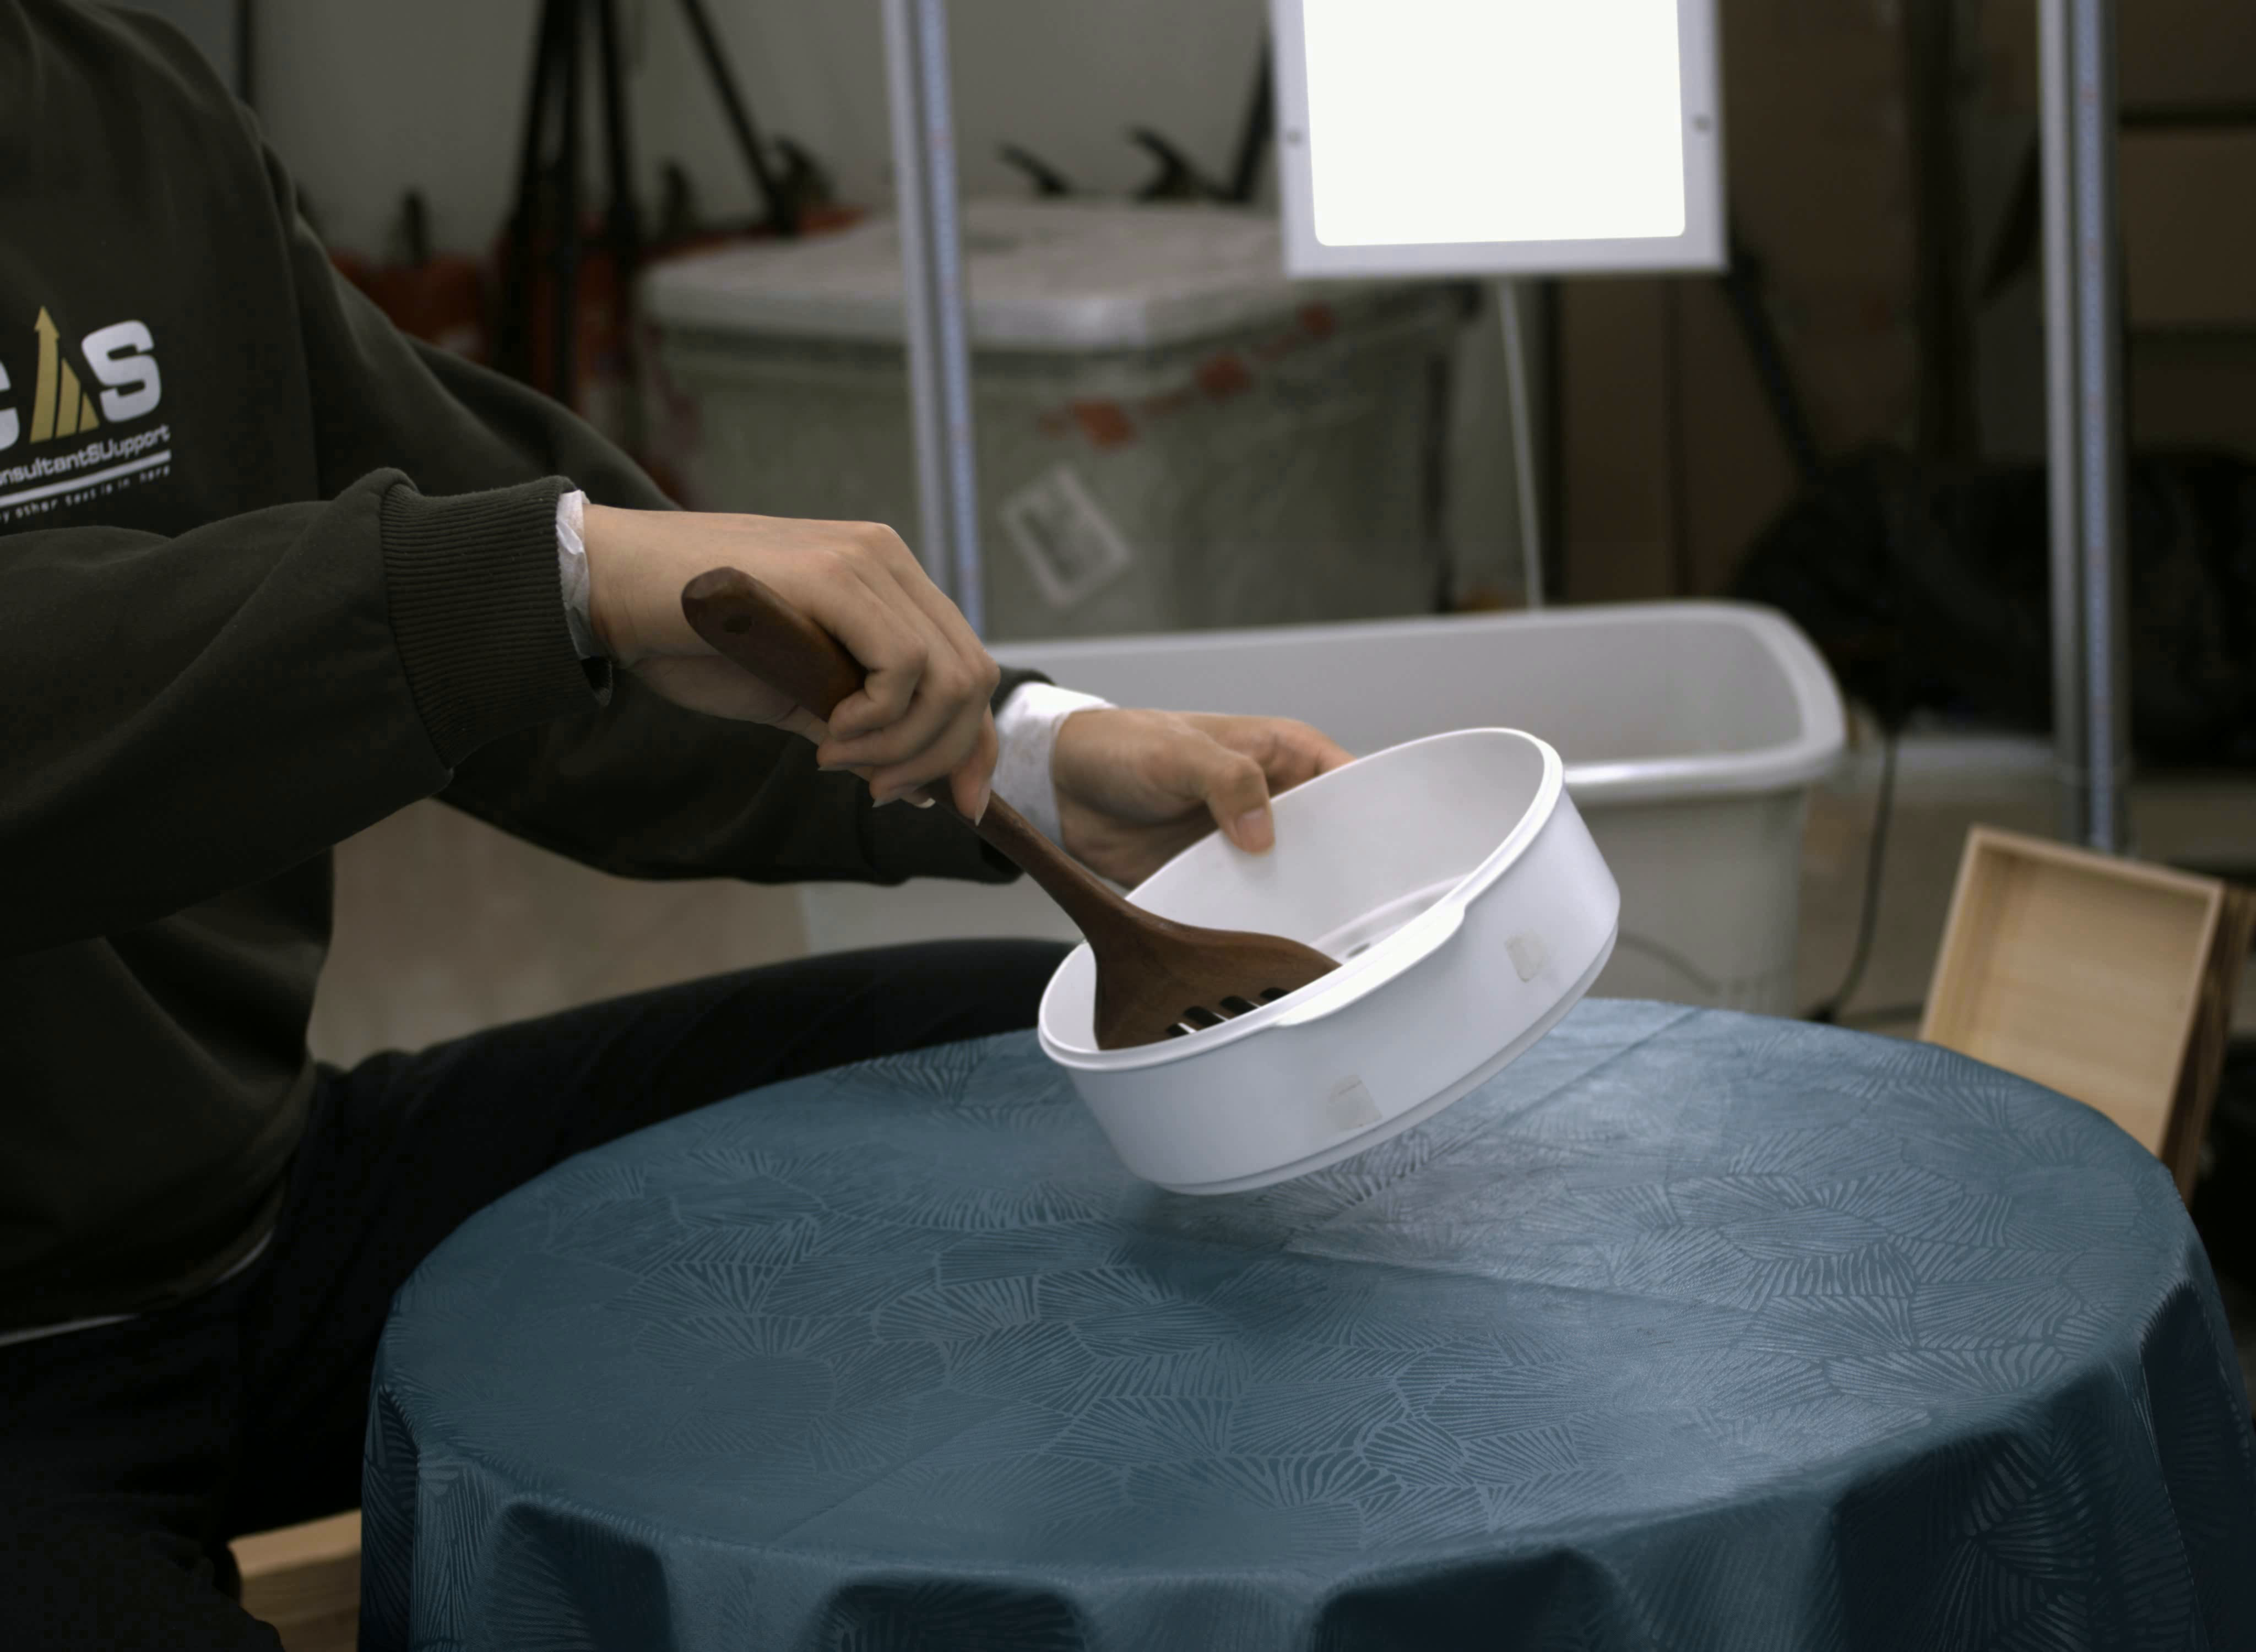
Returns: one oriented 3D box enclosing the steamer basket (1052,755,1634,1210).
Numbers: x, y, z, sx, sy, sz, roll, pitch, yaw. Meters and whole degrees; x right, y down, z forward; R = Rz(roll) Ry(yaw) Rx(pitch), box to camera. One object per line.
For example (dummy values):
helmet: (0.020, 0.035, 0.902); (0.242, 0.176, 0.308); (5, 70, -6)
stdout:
steamer basket: (0.076, 0.054, 1.858); (0.201, 0.069, 0.232); (-31, 11, -3)

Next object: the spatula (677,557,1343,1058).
spatula: (-0.031, 0.006, 1.719); (0.087, 0.024, 0.379); (-28, -37, 16)
